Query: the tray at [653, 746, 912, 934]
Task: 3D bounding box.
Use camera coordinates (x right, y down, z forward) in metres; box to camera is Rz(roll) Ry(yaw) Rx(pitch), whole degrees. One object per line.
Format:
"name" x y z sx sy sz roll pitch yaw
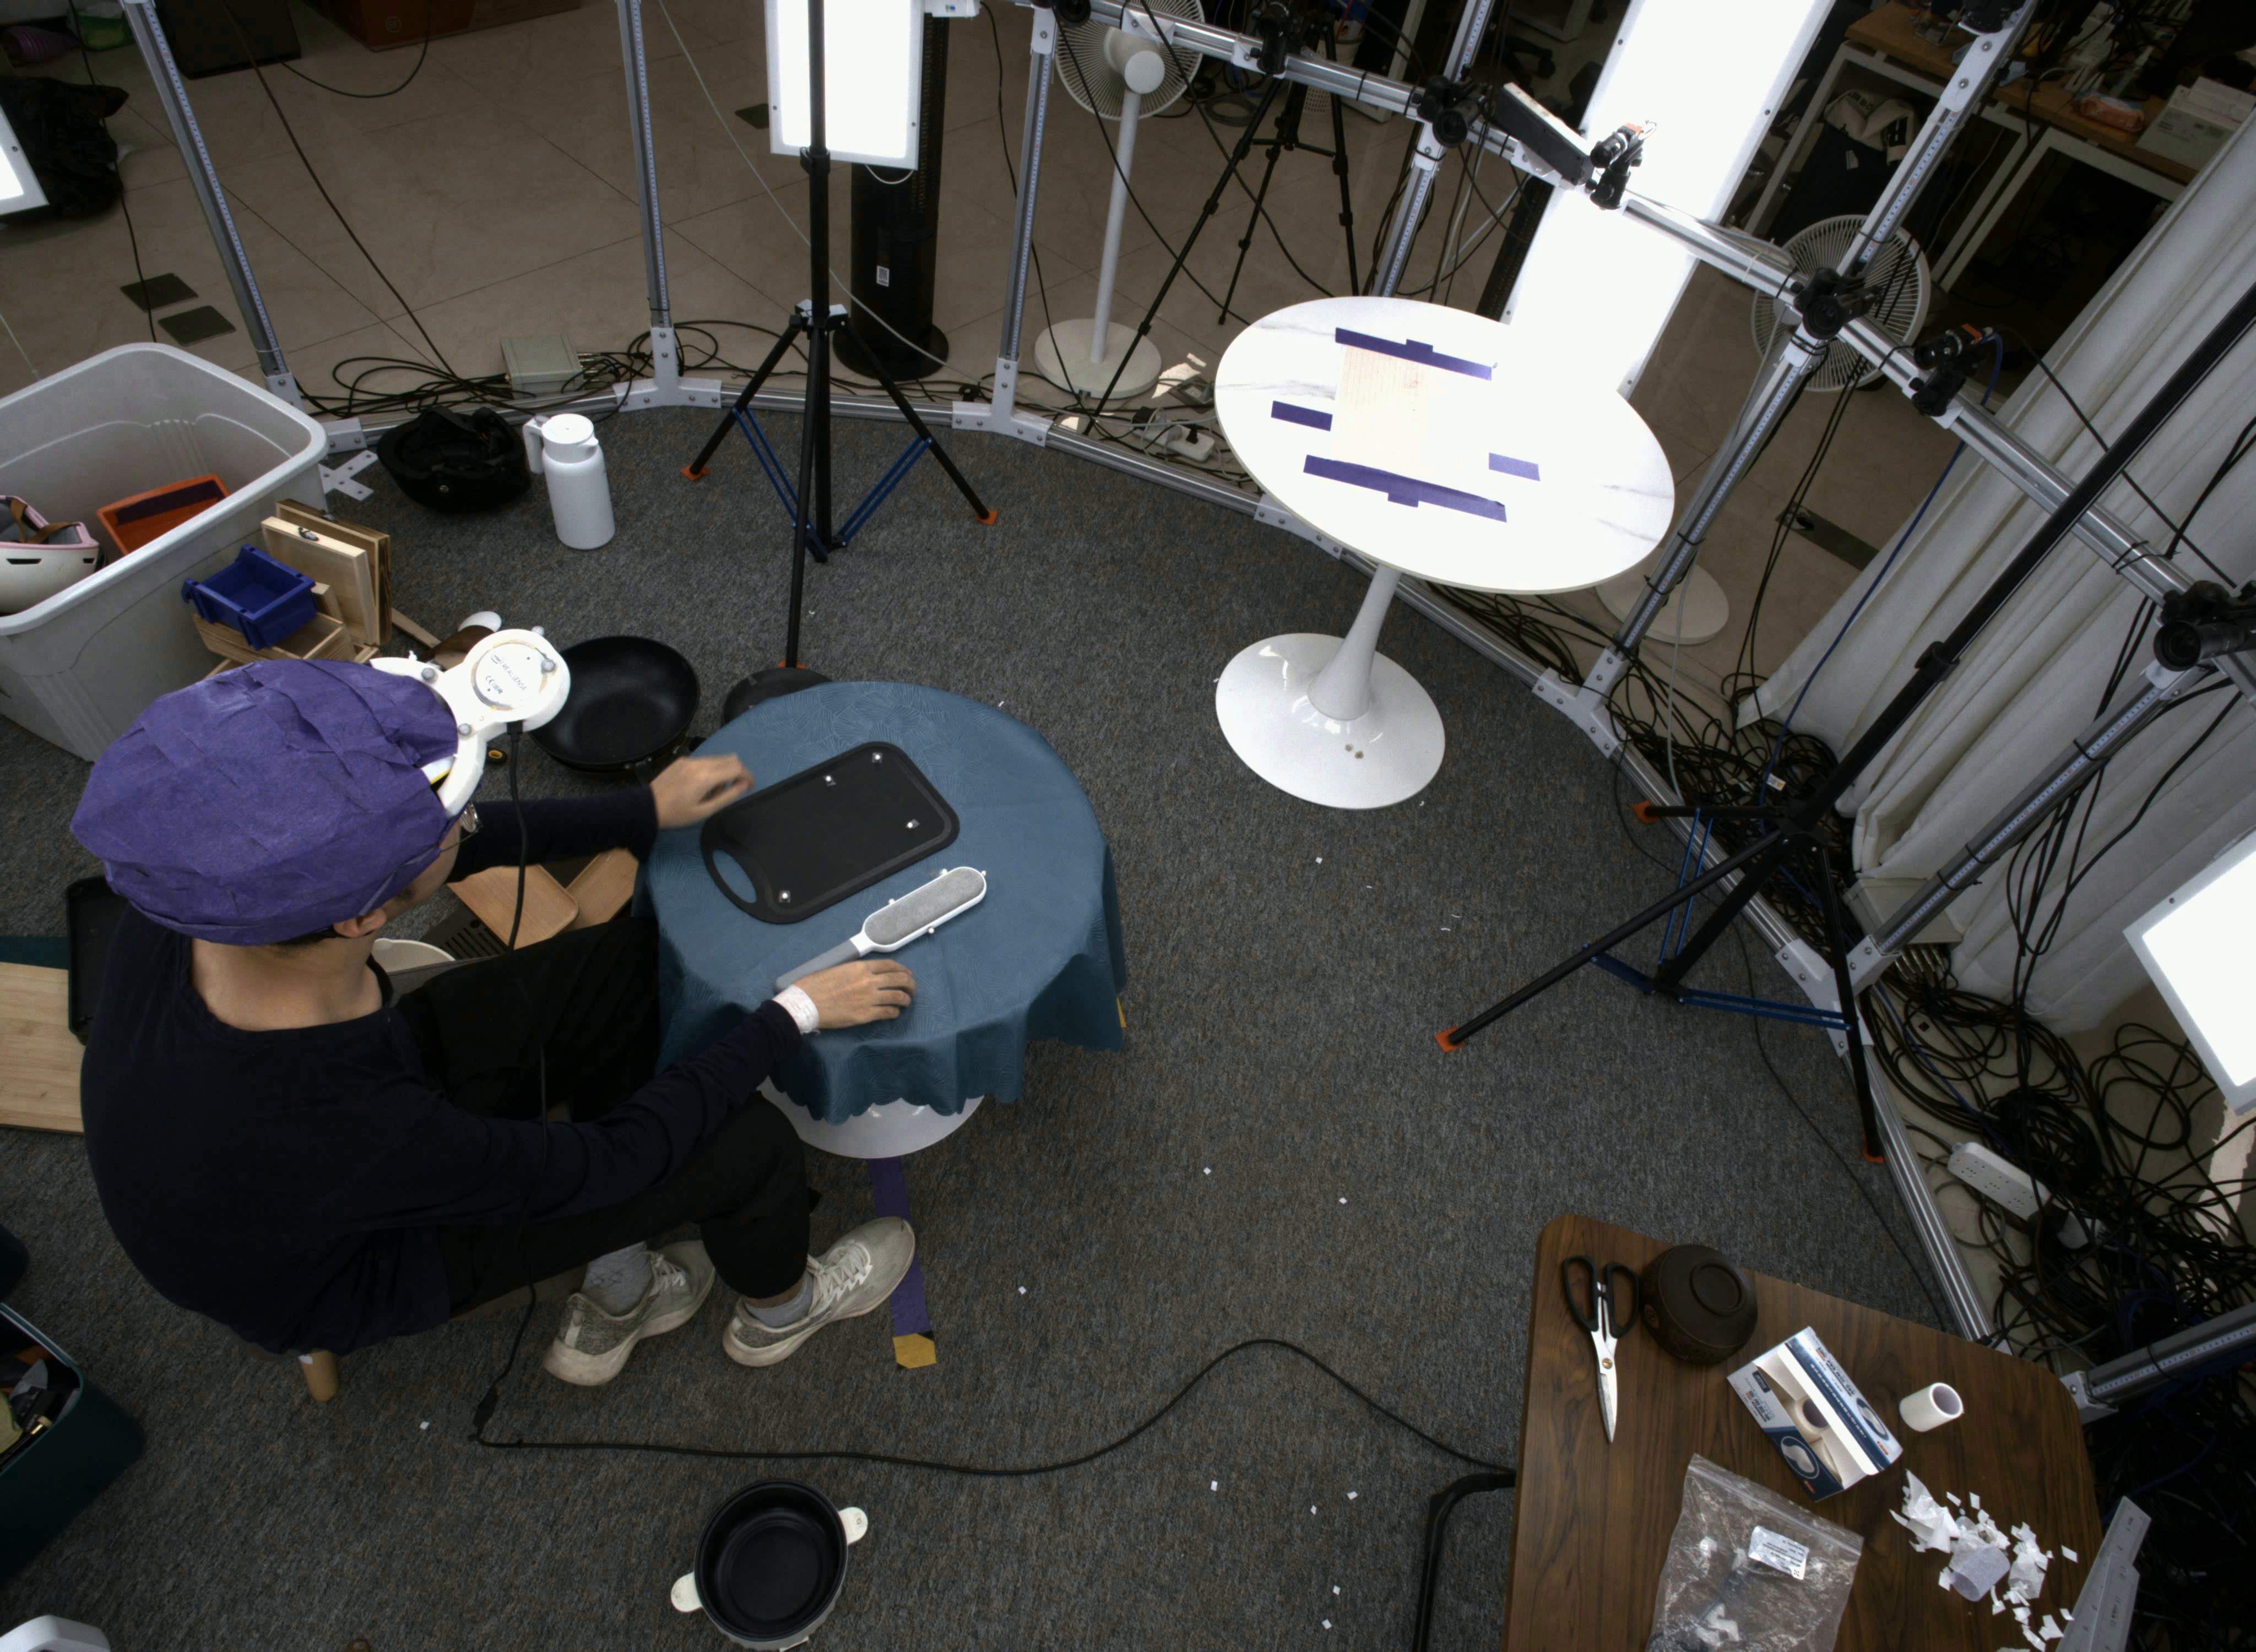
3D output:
"tray" -0.460 0.014 1.711 0.326 0.010 0.206 -31 66 -31

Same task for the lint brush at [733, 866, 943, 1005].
"lint brush" -0.362 0.134 1.634 0.310 0.021 0.059 -33 72 -31
